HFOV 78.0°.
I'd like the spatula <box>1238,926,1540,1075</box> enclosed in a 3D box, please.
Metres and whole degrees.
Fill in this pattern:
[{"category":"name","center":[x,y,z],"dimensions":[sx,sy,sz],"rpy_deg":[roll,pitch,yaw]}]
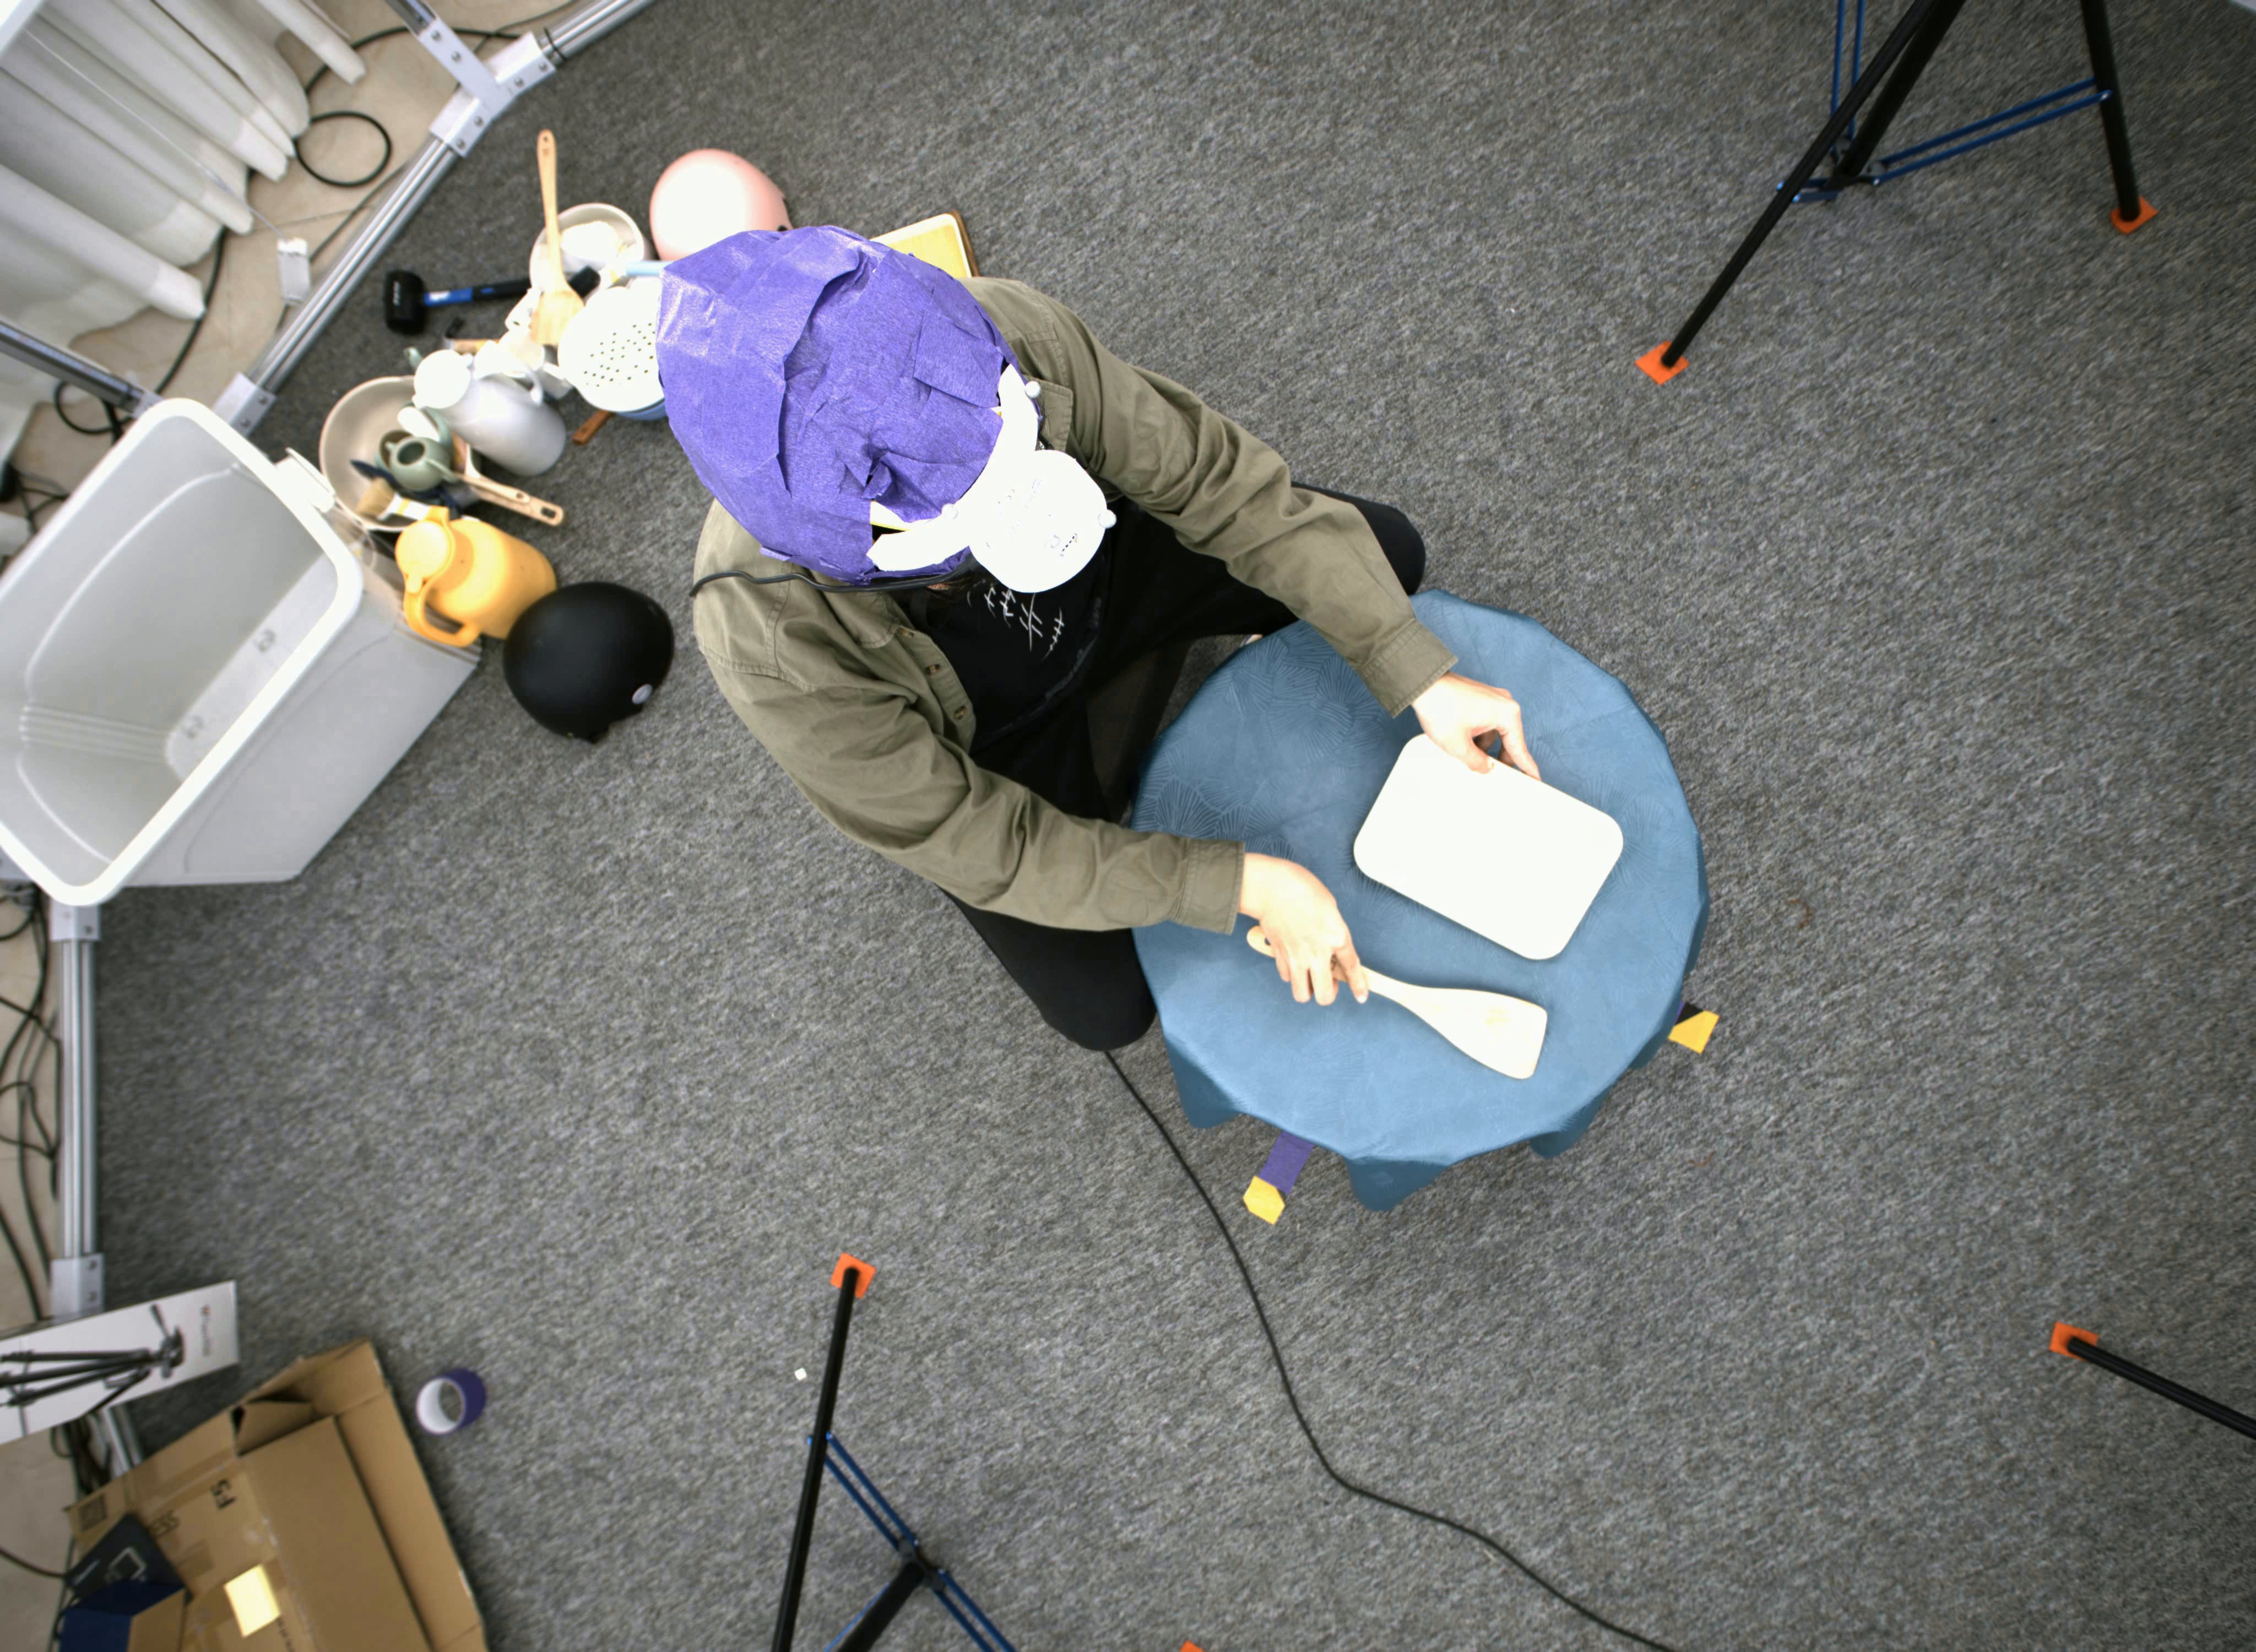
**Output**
[{"category":"spatula","center":[0.265,0.164,1.400],"dimensions":[0.328,0.016,0.081],"rpy_deg":[20,105,-4]}]

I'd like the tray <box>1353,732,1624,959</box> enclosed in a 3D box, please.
[{"category":"tray","center":[0.362,0.018,1.393],"dimensions":[0.239,0.017,0.174],"rpy_deg":[27,113,6]}]
